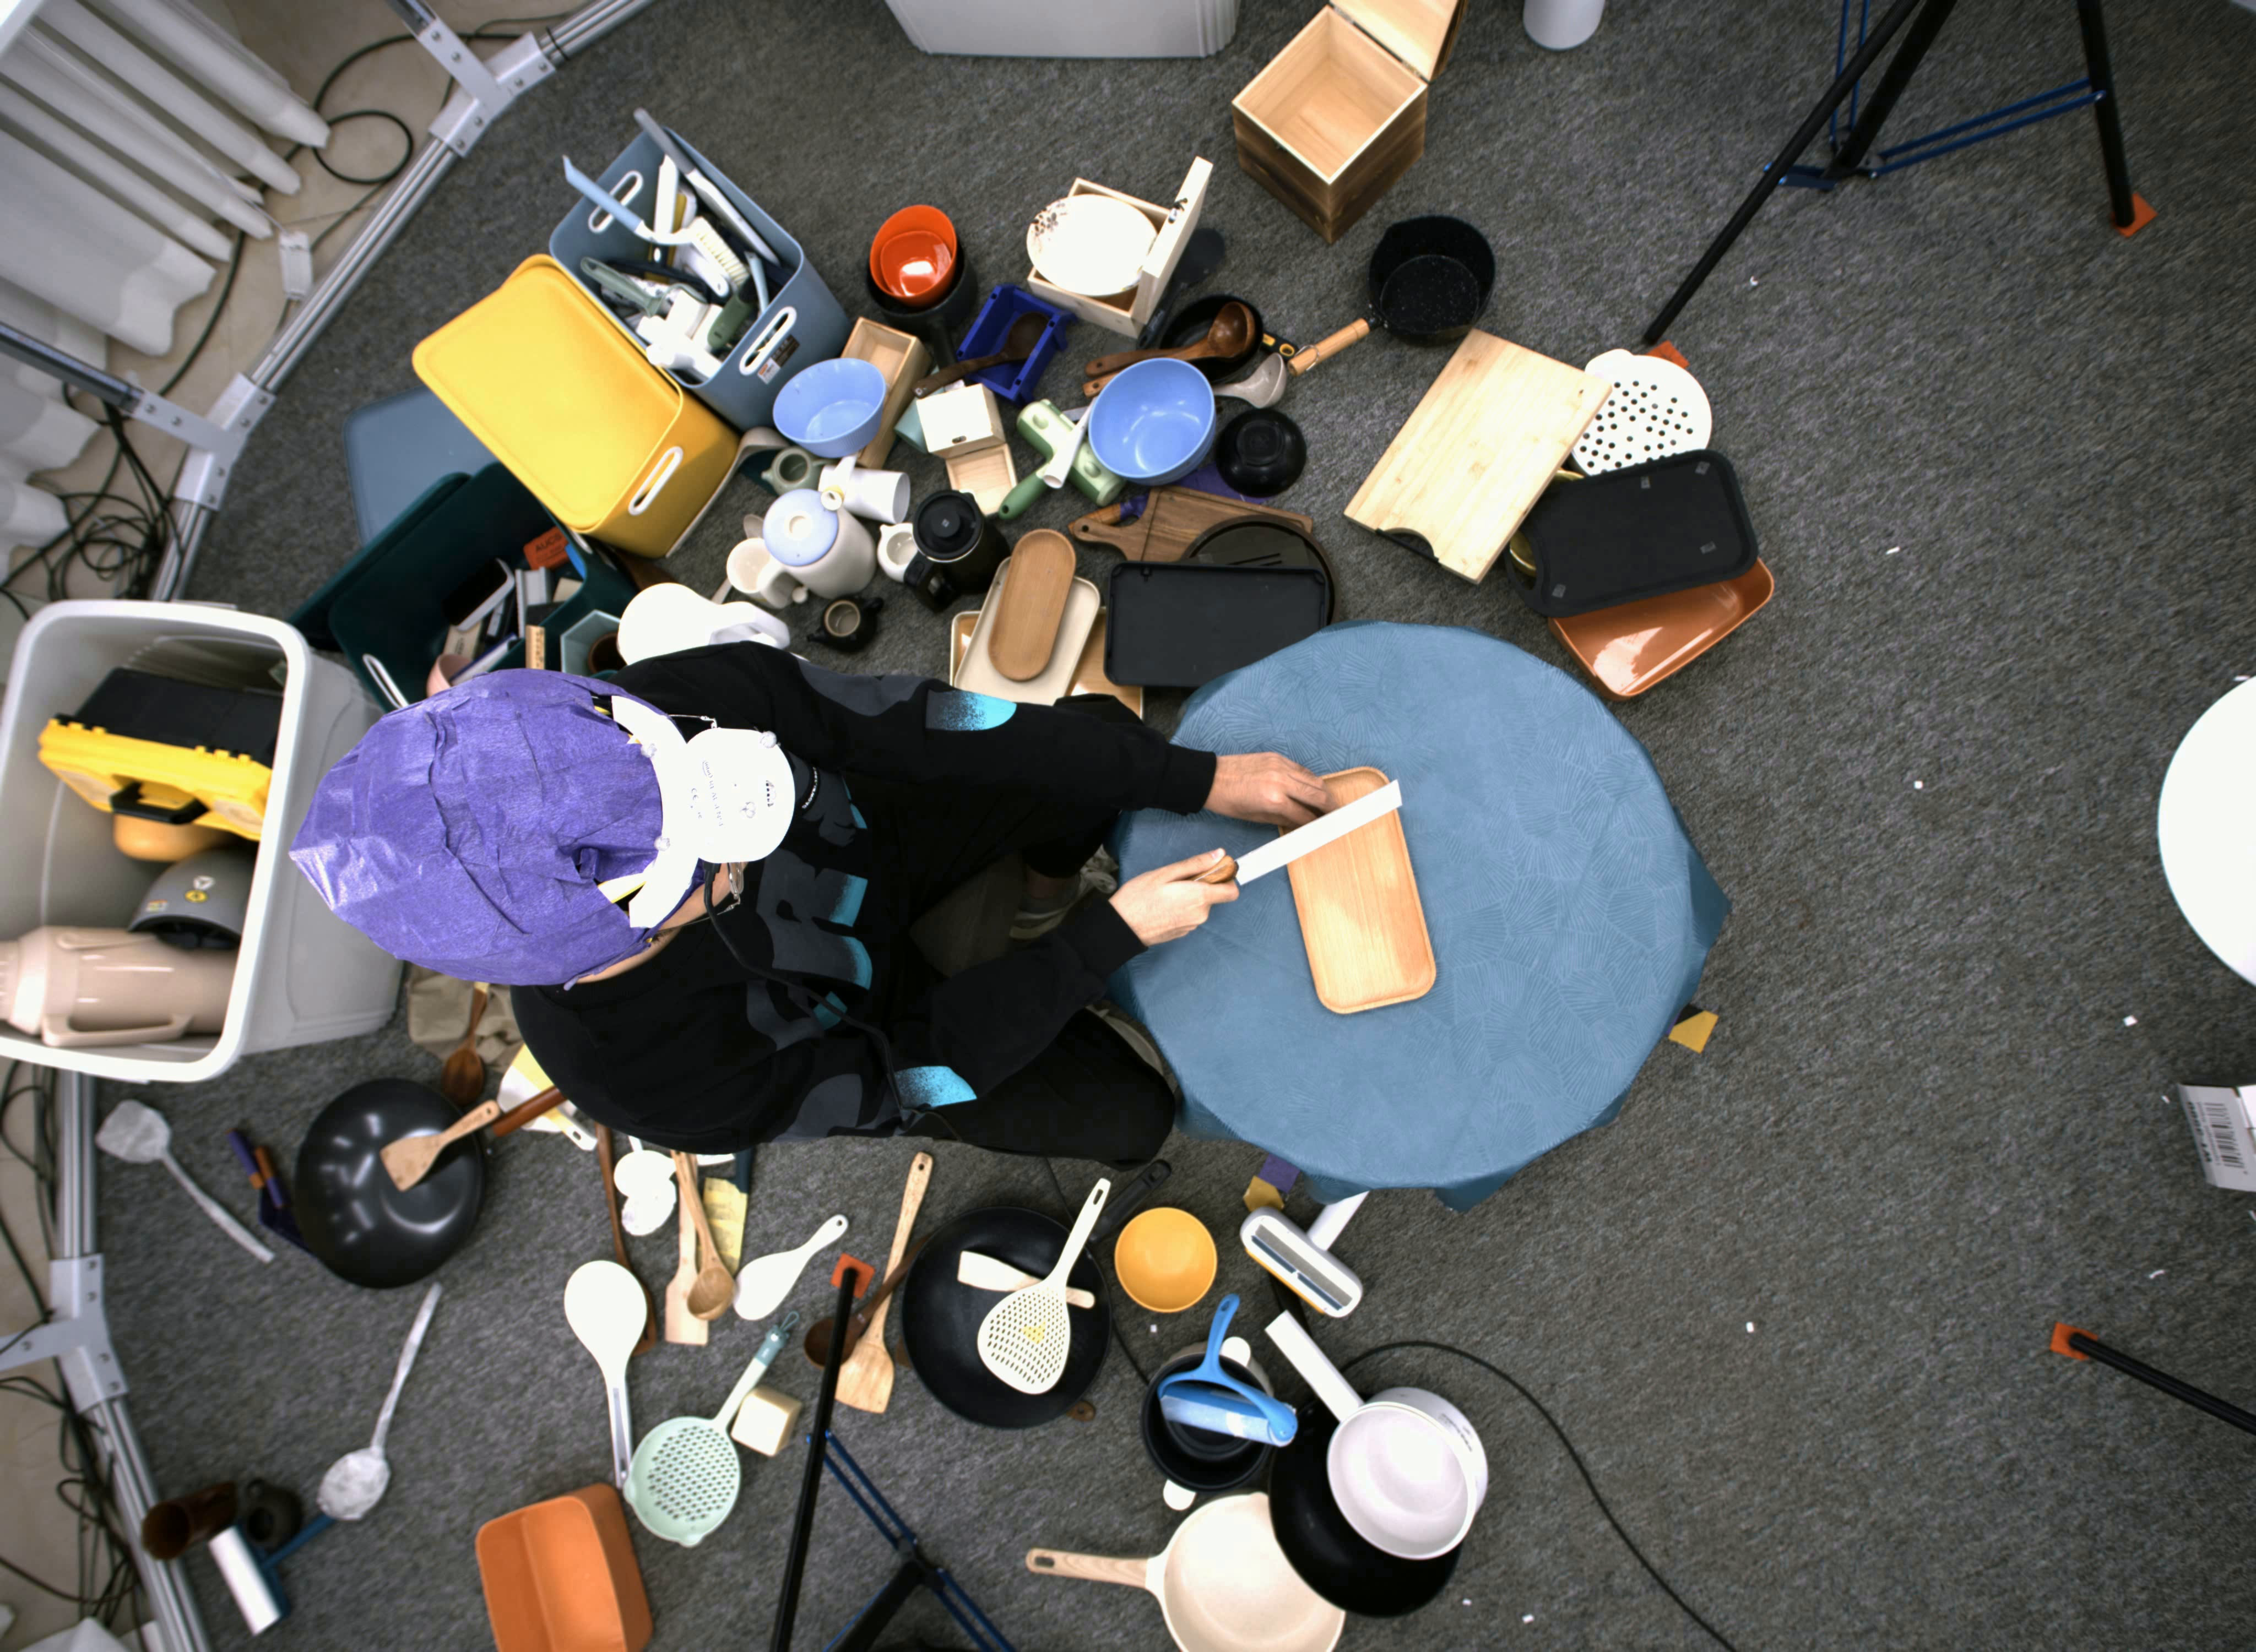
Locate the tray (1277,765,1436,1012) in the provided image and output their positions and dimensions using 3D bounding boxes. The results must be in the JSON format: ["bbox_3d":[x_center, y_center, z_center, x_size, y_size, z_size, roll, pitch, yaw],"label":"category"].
[{"bbox_3d":[0.240,0.064,1.458,0.131,0.023,0.249,-12,84,8],"label":"tray"}]

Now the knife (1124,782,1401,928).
[{"bbox_3d":[0.141,0.033,1.422,0.307,0.093,0.021,-27,70,7],"label":"knife"}]
